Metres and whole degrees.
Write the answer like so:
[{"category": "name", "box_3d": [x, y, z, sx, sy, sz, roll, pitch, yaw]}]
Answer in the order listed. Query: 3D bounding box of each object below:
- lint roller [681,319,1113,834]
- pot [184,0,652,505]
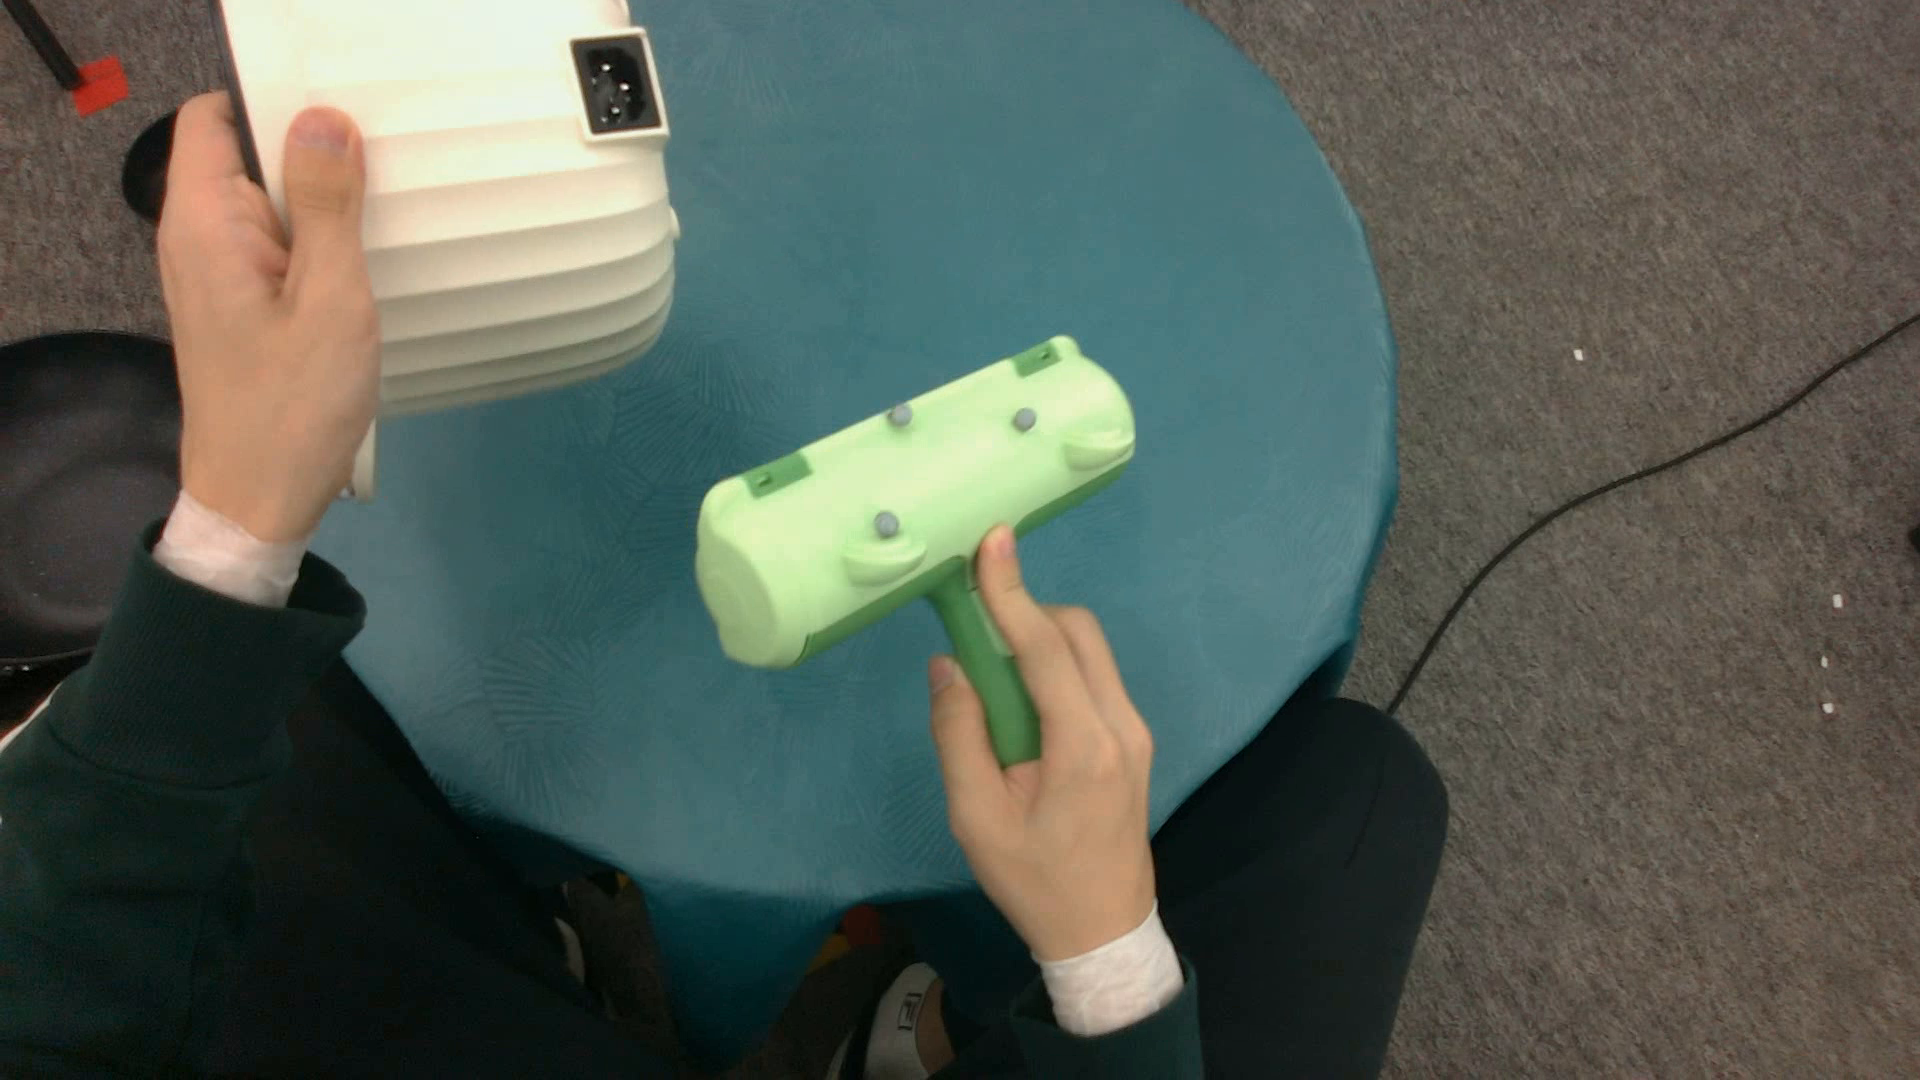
[{"category": "lint roller", "box_3d": [0.013, 0.025, 0.511, 0.199, 0.082, 0.183, -31, 95, -42]}, {"category": "pot", "box_3d": [-0.206, -0.143, 0.539, 0.143, 0.190, 0.240, -13, 93, -24]}]
